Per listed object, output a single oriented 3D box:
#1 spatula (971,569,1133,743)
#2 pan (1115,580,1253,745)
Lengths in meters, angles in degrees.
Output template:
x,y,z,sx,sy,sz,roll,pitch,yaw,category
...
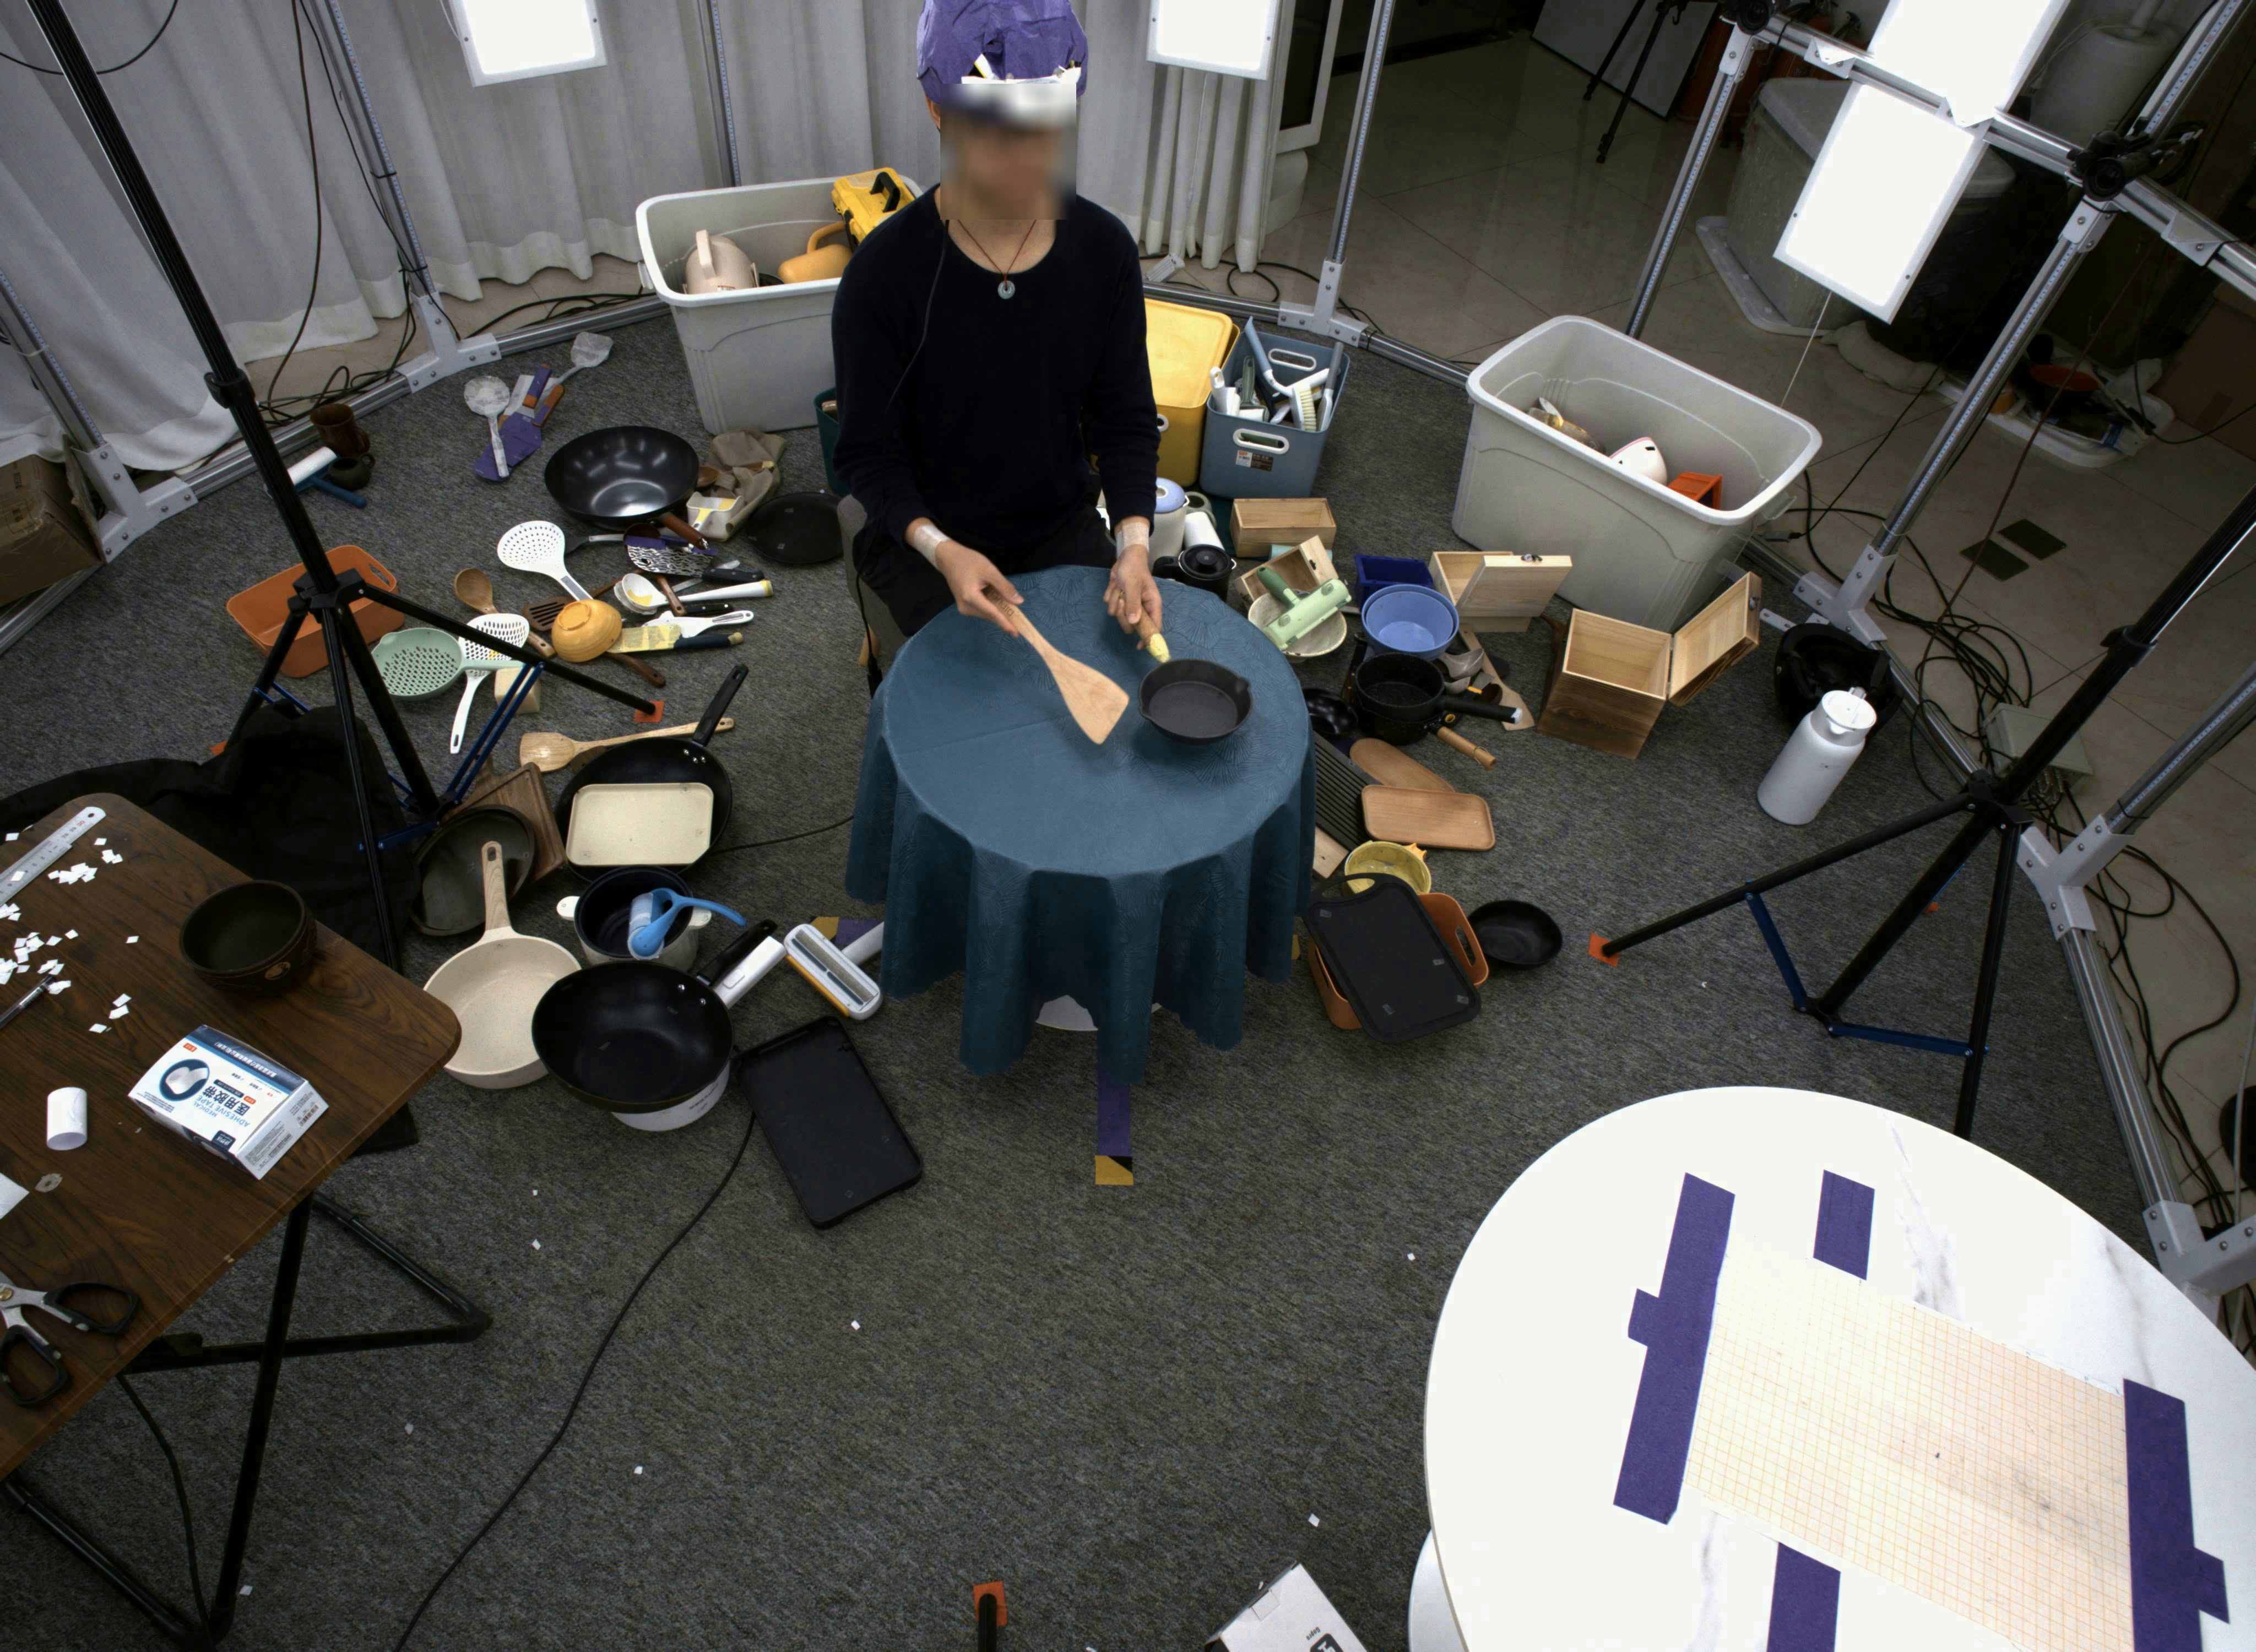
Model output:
x,y,z,sx,sy,sz,roll,pitch,yaw,category
-0.113,-0.248,1.774,0.079,0.016,0.332,-46,69,9,spatula
0.057,-0.232,1.805,0.169,0.048,0.331,-16,52,-18,pan
